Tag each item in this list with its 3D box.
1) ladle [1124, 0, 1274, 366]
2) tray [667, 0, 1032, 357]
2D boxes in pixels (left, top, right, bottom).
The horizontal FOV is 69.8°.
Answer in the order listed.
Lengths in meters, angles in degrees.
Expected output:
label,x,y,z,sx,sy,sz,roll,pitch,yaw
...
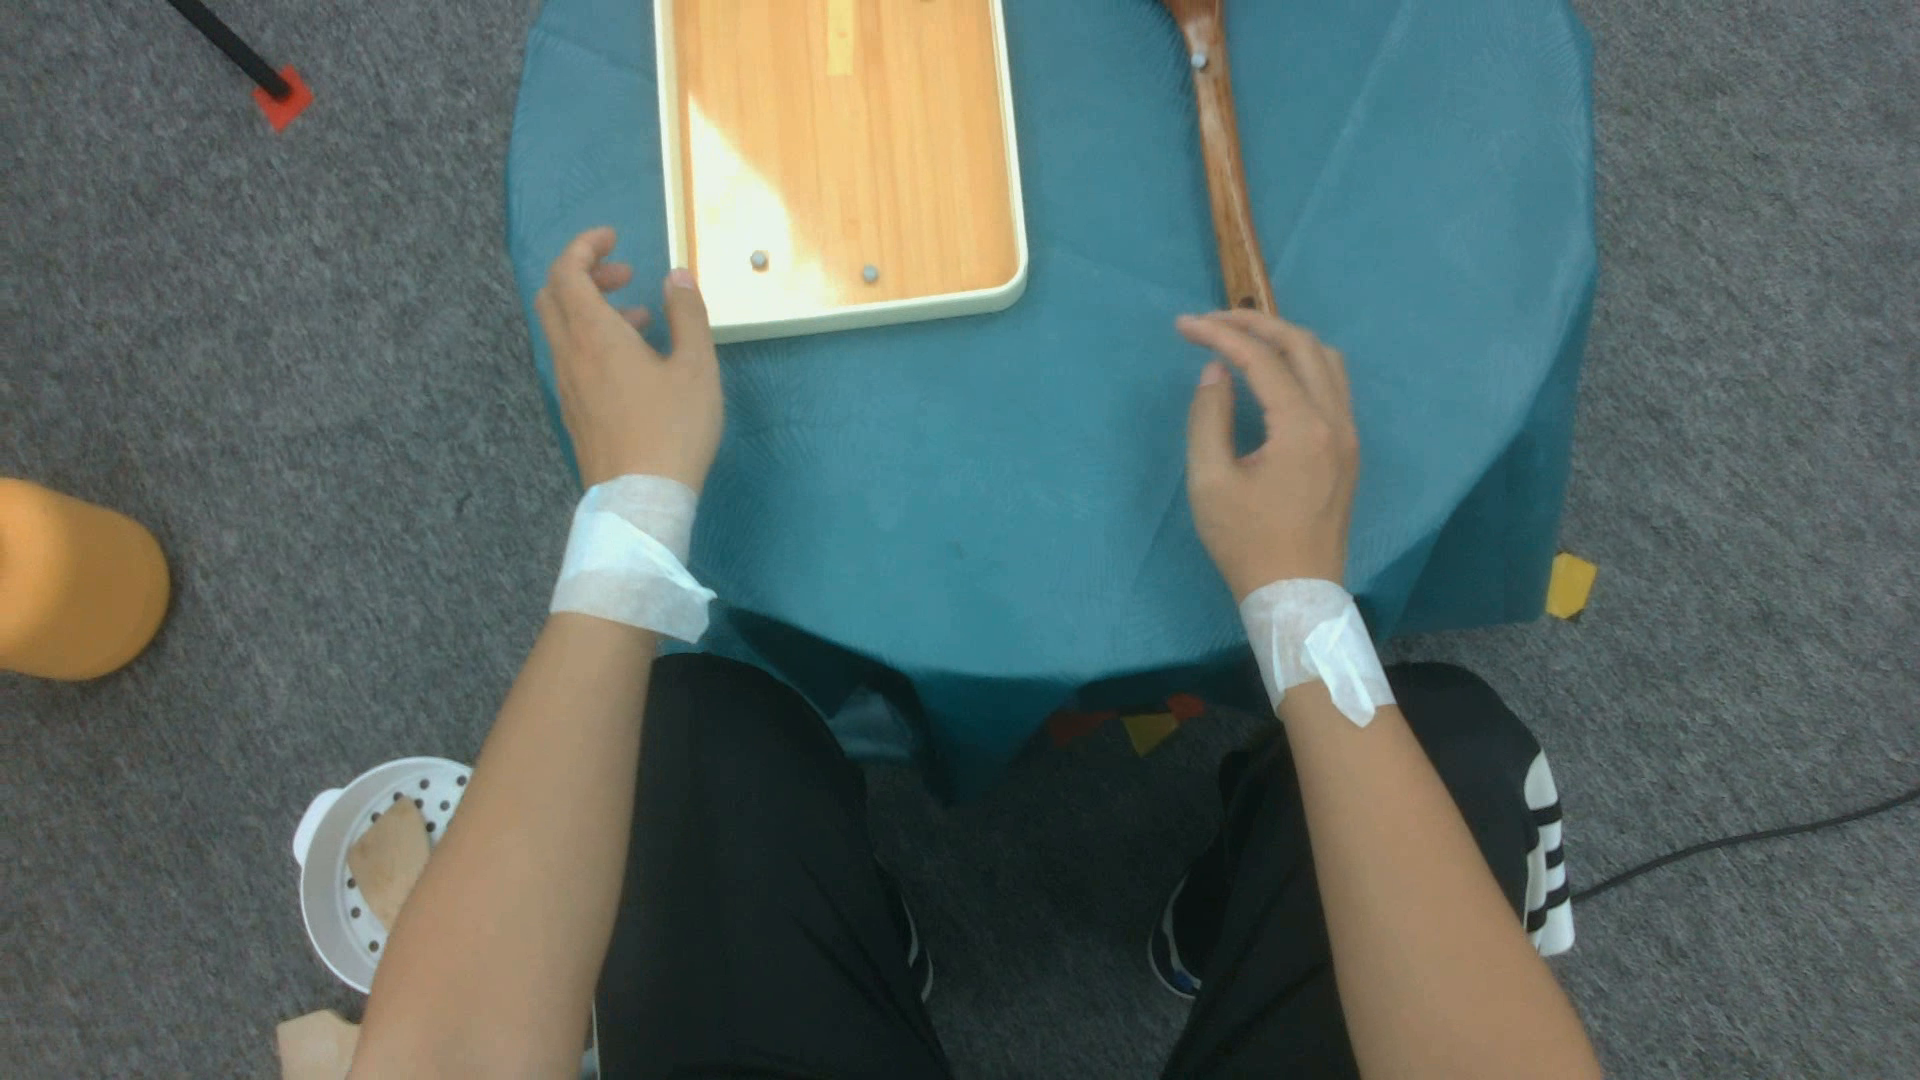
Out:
label,x,y,z,sx,sy,sz,roll,pitch,yaw
ladle,0.125,-0.231,0.740,0.081,0.077,0.274,-17,73,41
tray,-0.067,-0.257,0.784,0.191,0.027,0.301,-6,76,3
